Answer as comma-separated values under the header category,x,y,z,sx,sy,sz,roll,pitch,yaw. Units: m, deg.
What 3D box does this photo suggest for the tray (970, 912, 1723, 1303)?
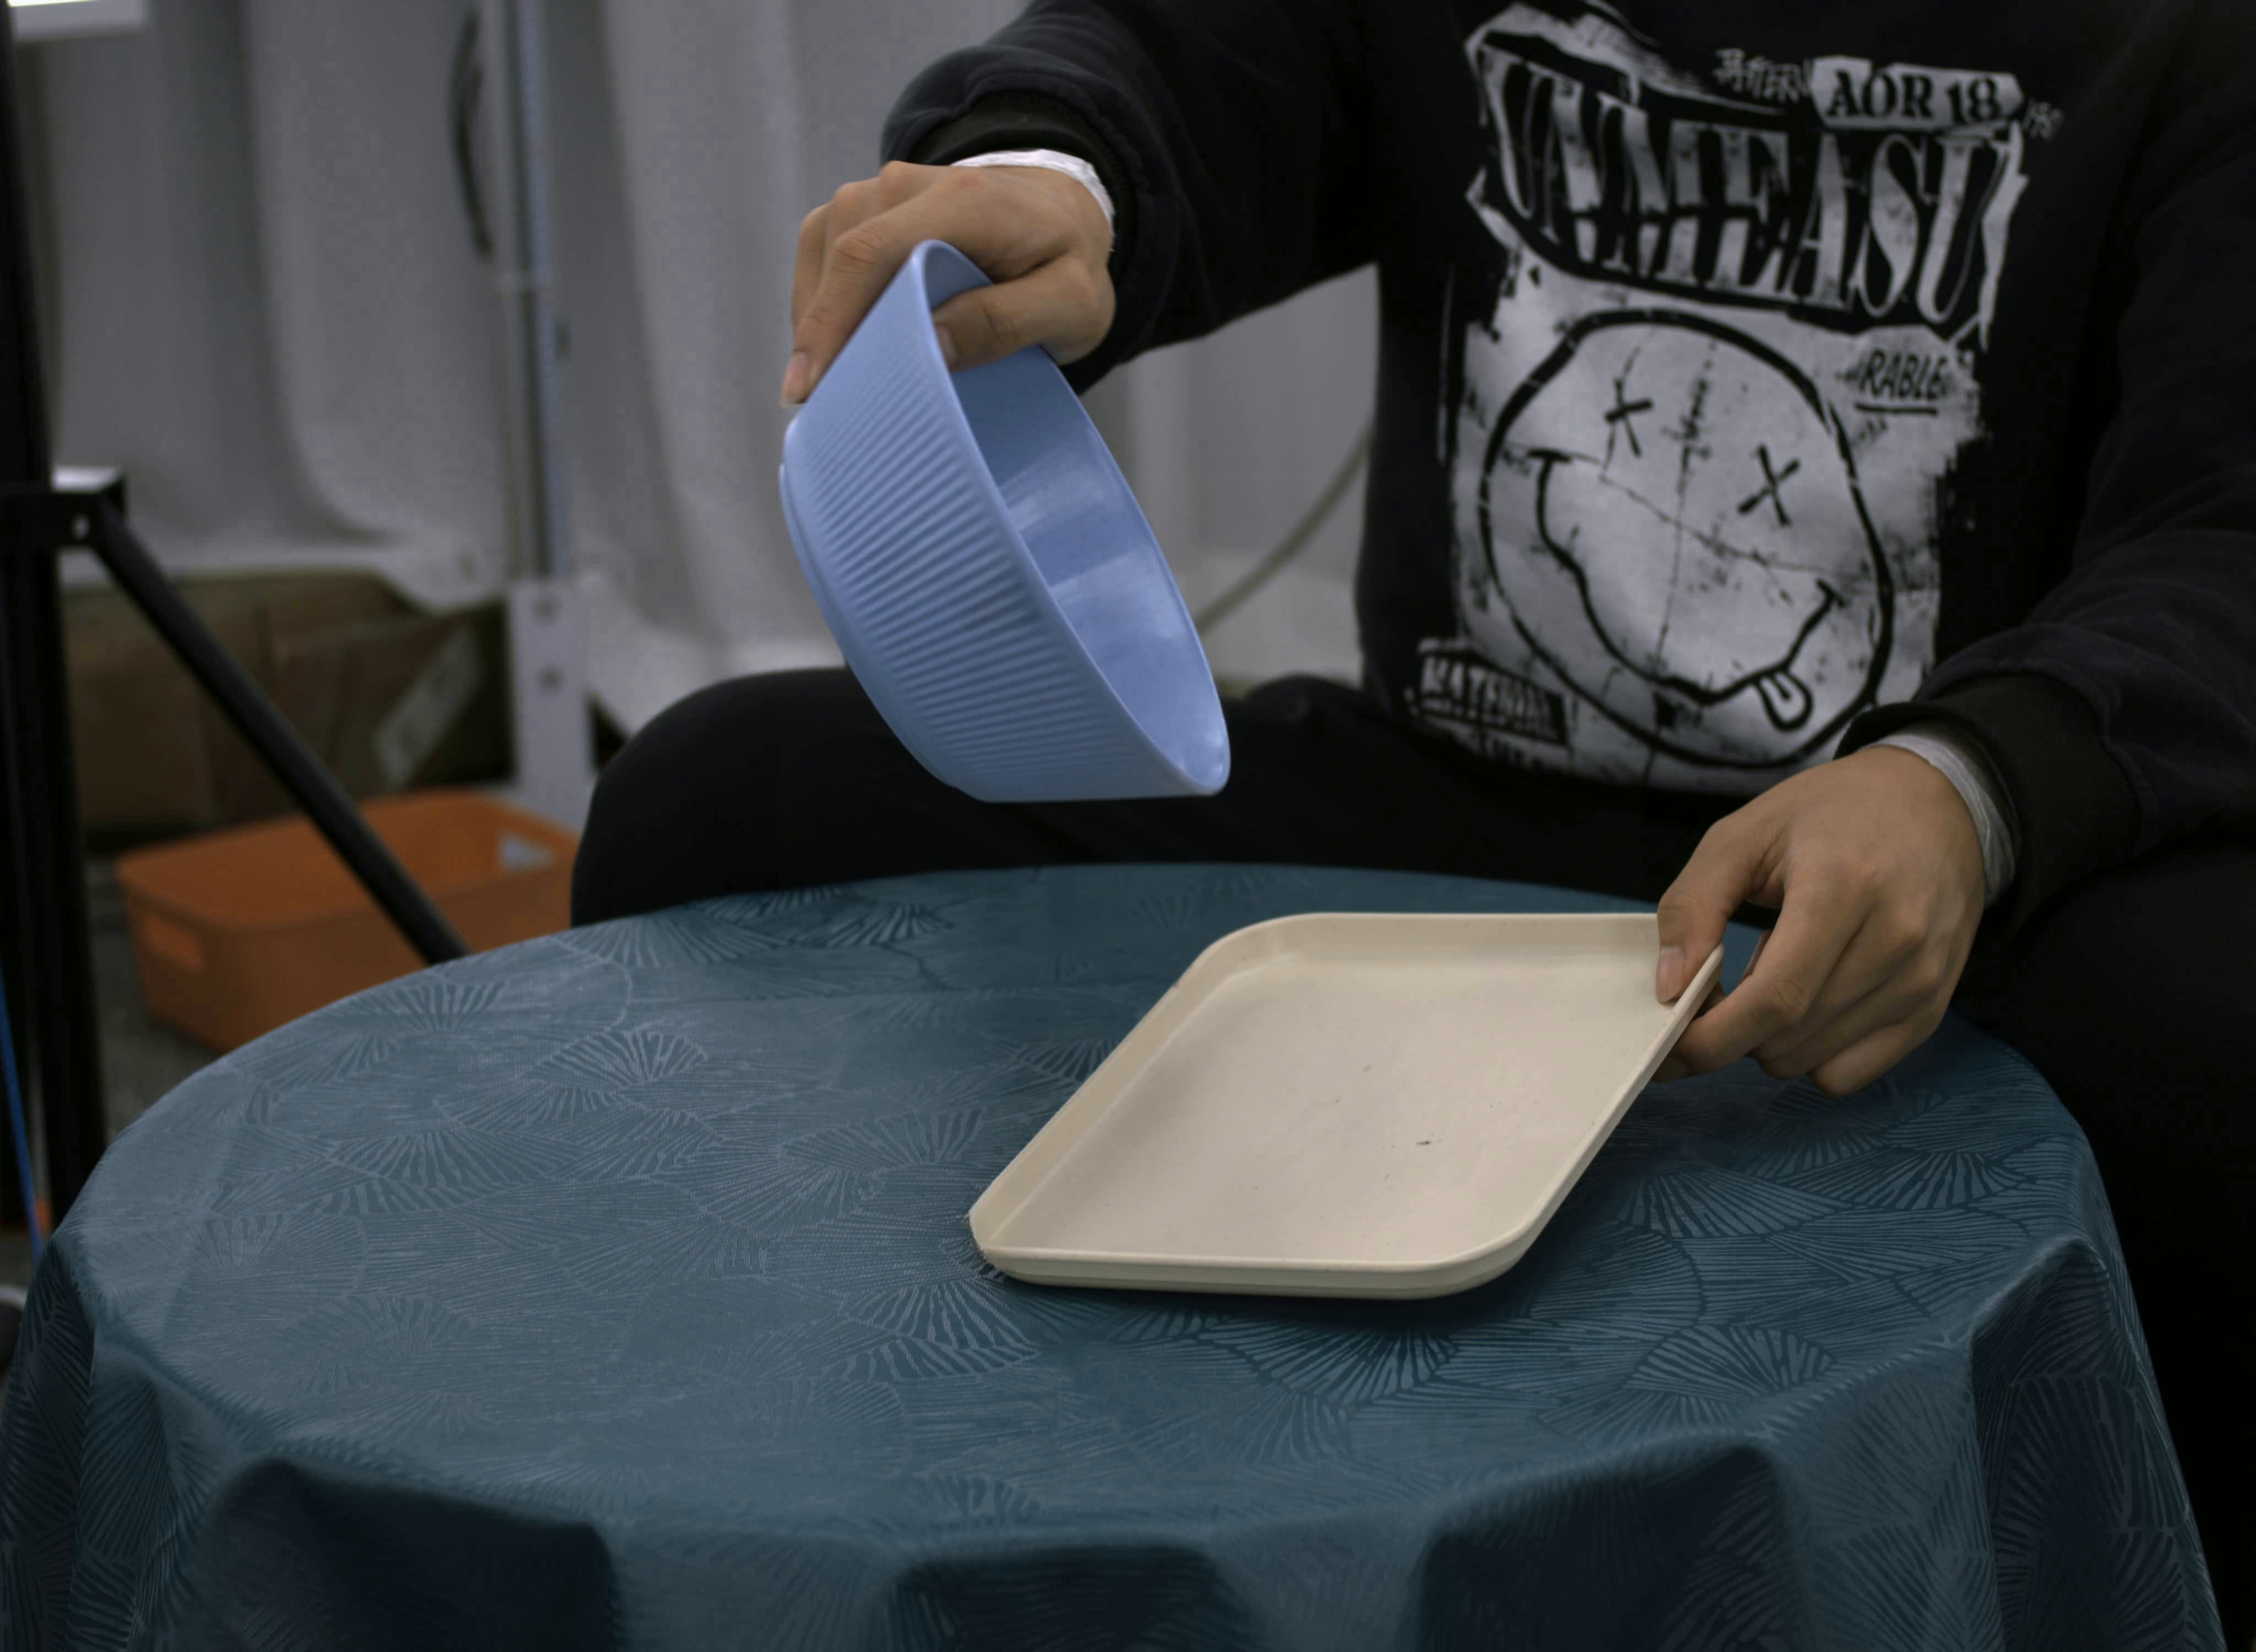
category,x,y,z,sx,sy,sz,roll,pitch,yaw
tray,0.068,0.081,1.549,0.174,0.017,0.237,0,23,25

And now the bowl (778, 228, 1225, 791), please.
category,x,y,z,sx,sy,sz,roll,pitch,yaw
bowl,-0.043,-0.077,1.514,0.070,0.175,0.176,-28,11,12
